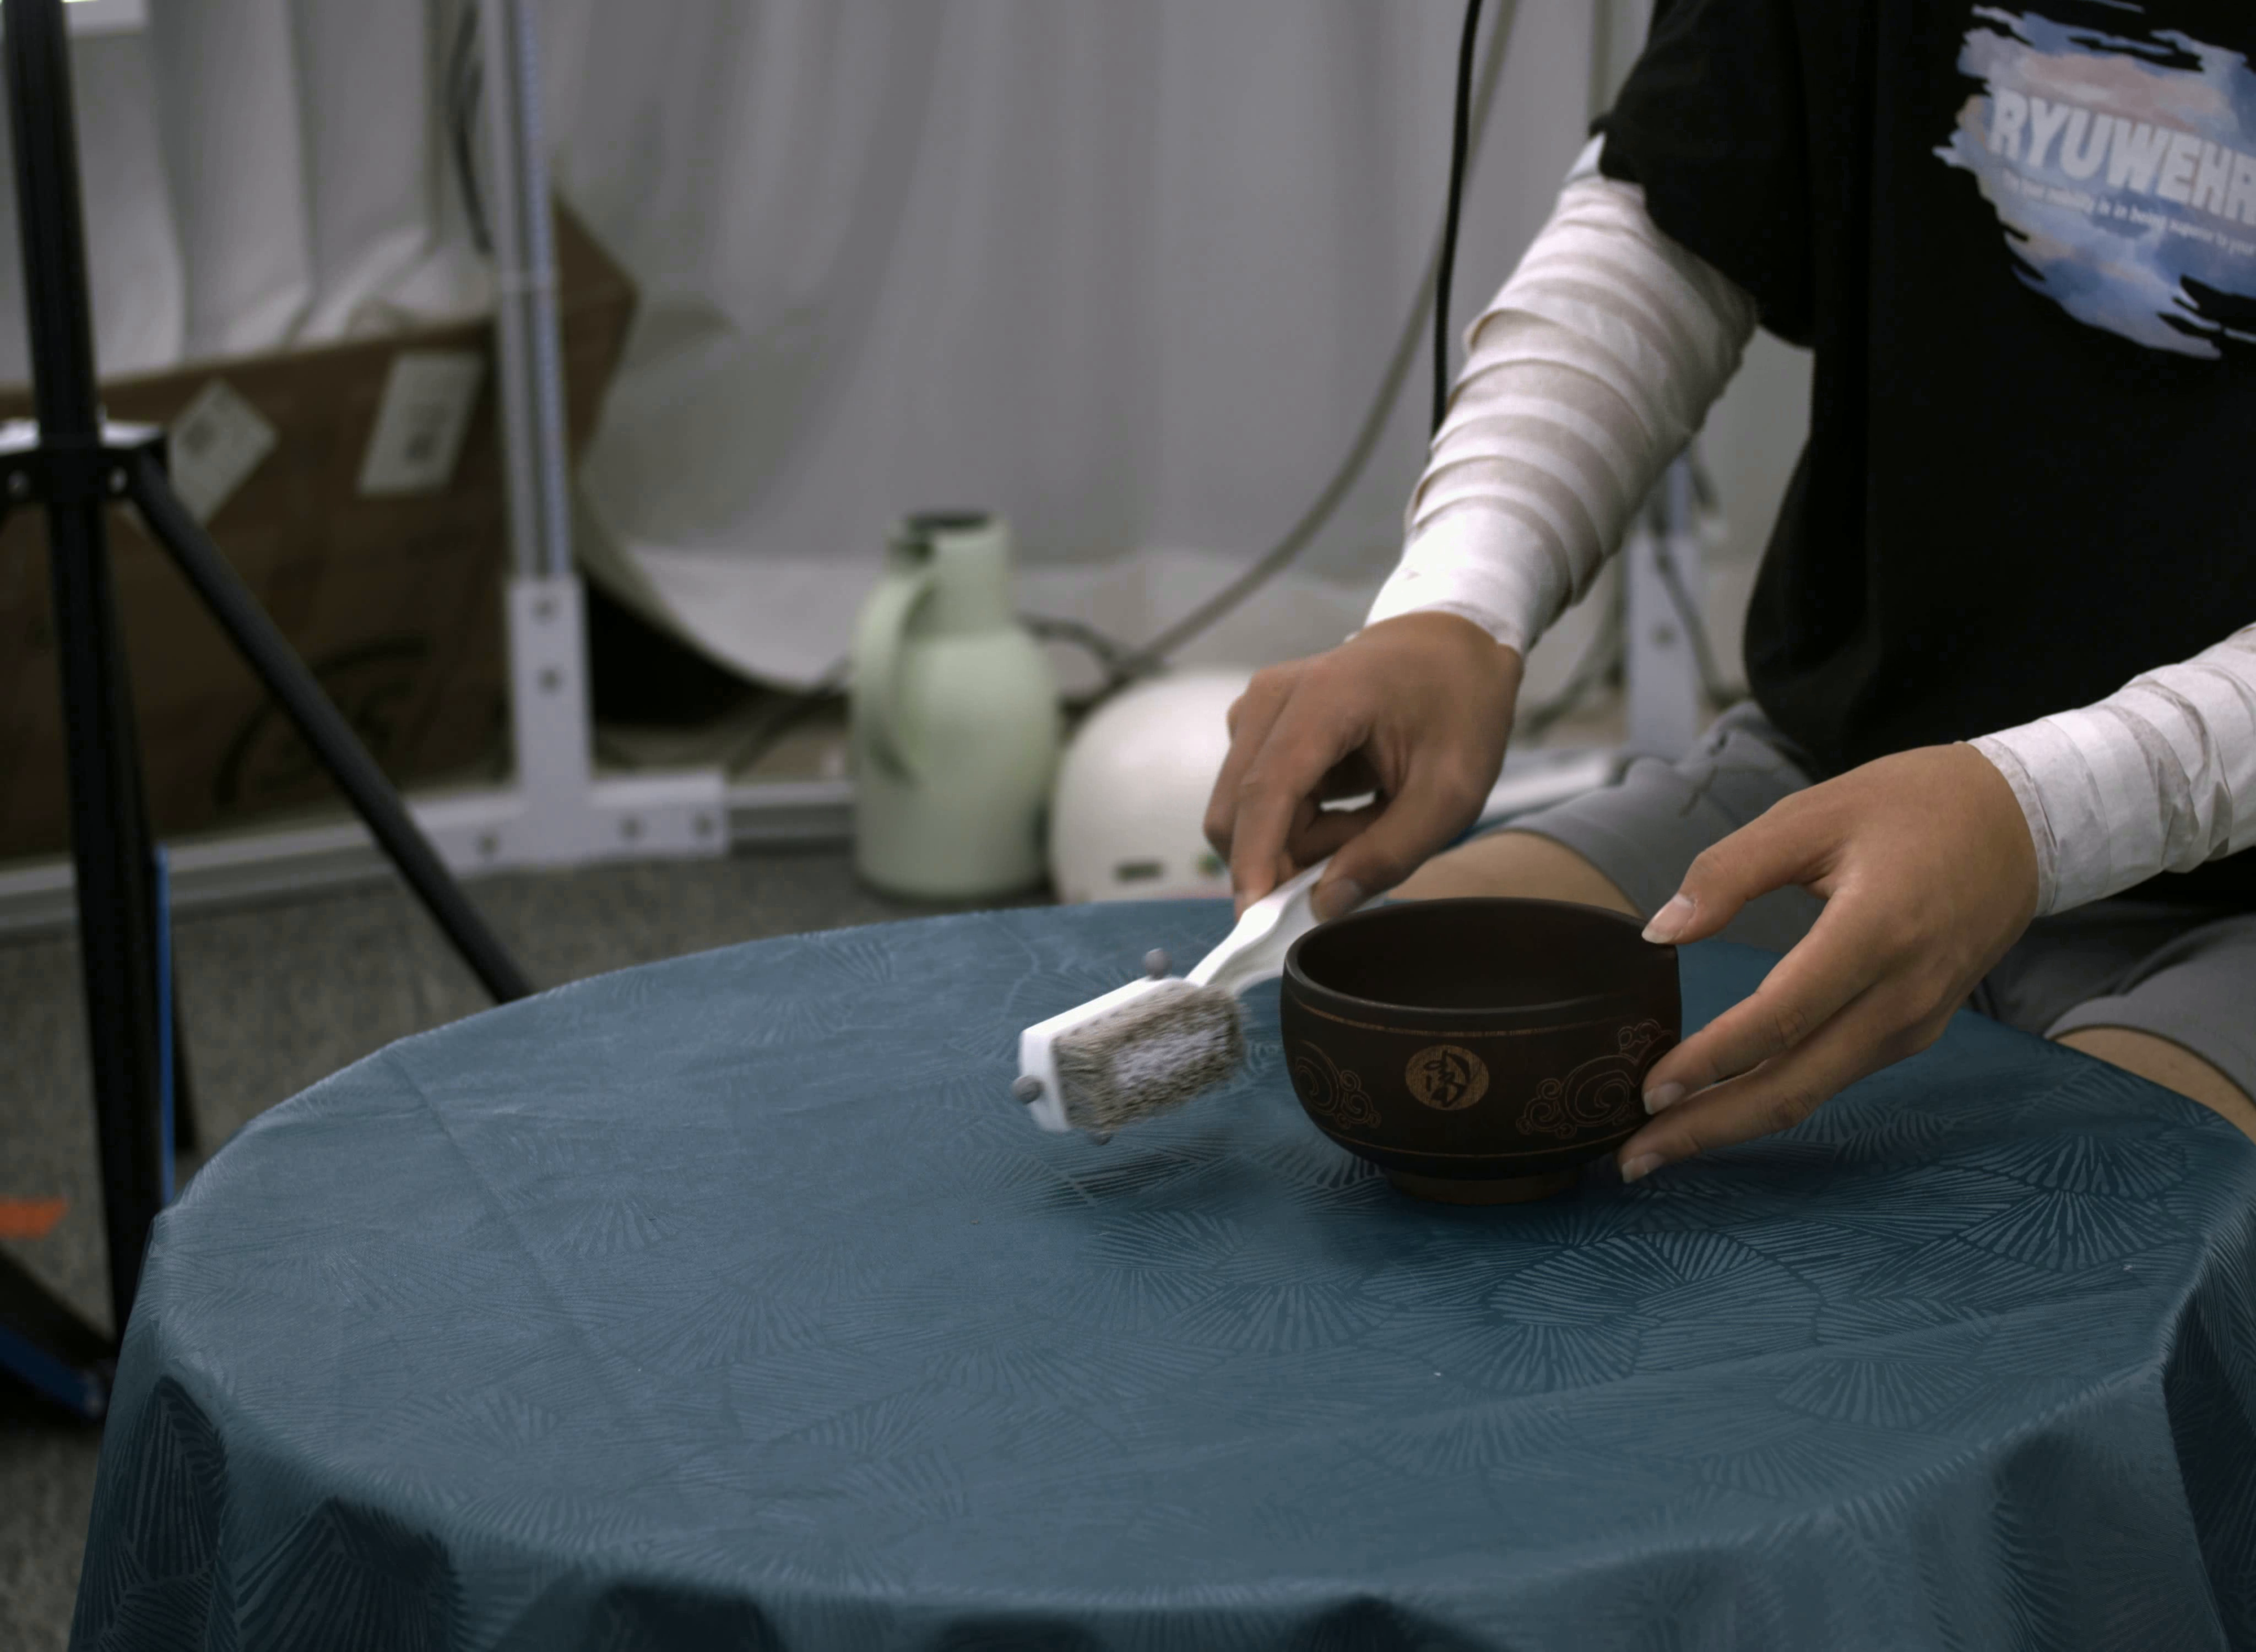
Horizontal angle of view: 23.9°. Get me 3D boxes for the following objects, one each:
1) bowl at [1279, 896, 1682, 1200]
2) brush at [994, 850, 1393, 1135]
[{"bbox_3d":[0.103,0.068,1.551,0.117,0.070,0.118,-2,13,-1],"label":"bowl"},{"bbox_3d":[0.038,0.047,1.643,0.051,0.034,0.239,-1,14,33],"label":"brush"}]
